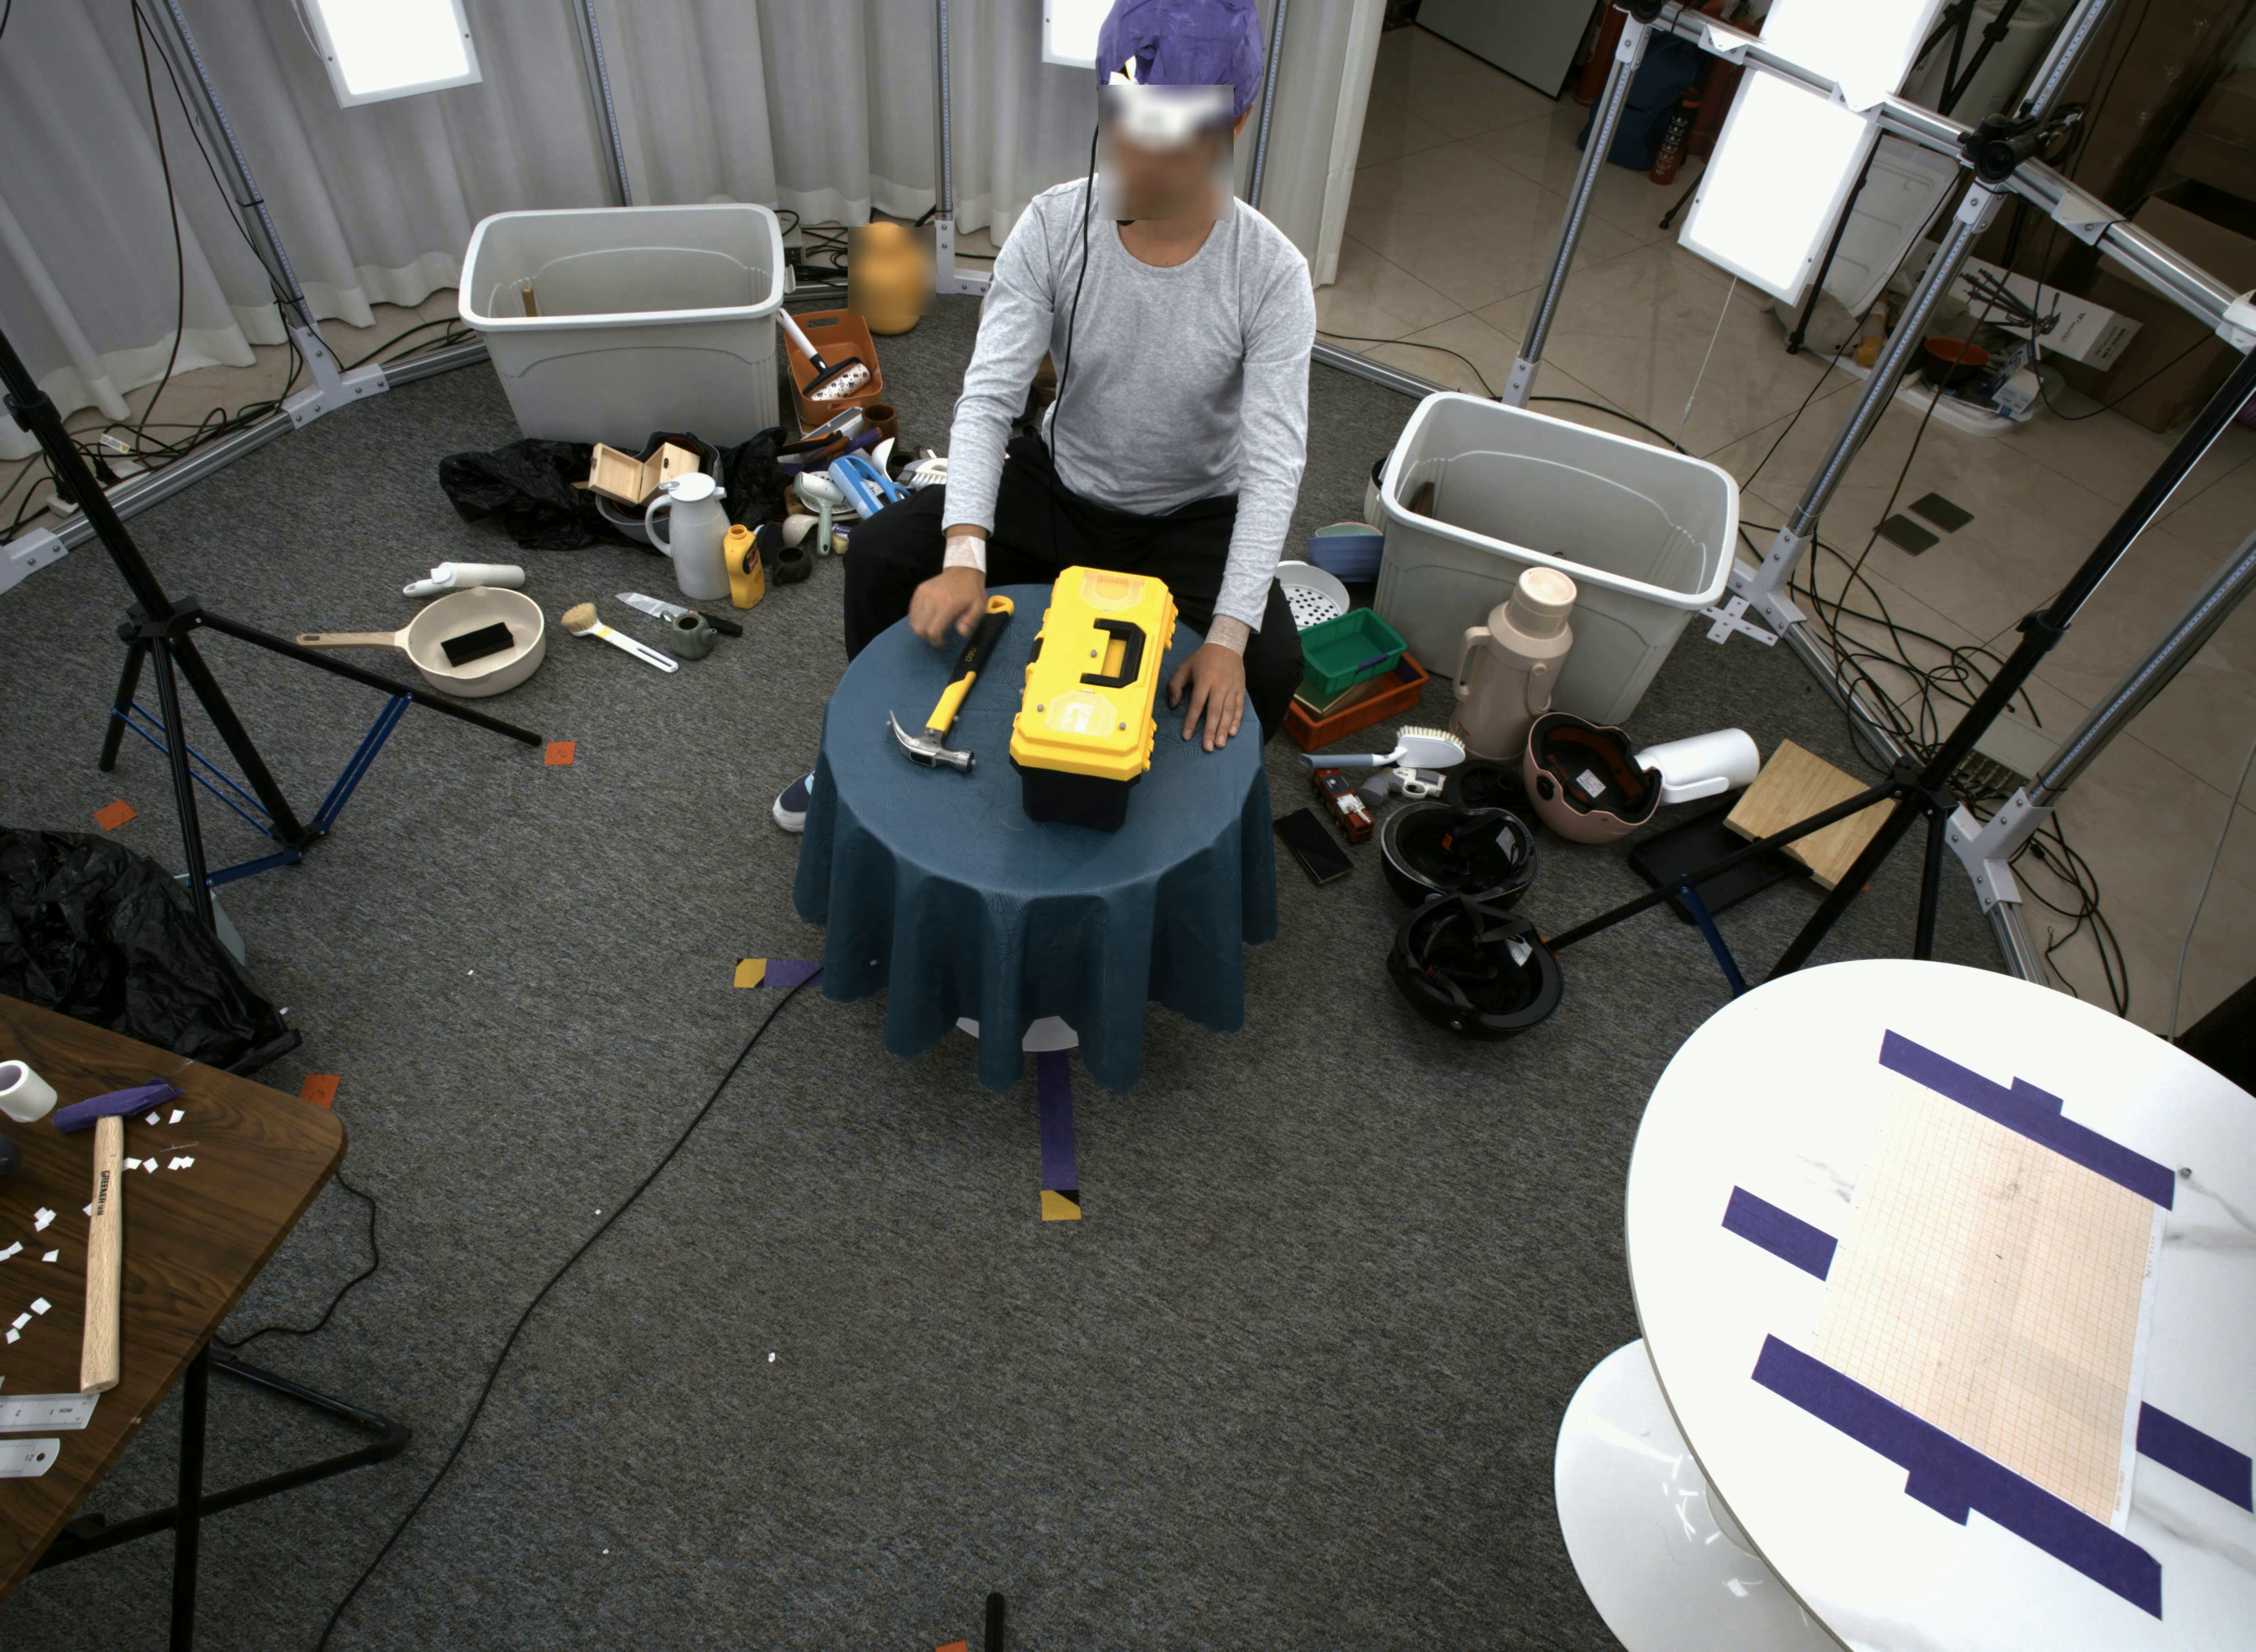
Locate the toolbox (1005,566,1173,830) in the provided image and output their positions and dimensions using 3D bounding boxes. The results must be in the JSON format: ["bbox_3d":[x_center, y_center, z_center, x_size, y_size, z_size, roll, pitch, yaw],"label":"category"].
[{"bbox_3d":[-0.046,-0.173,1.712,0.181,0.168,0.360,9,49,3],"label":"toolbox"}]

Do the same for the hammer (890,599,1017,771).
[{"bbox_3d":[-0.230,-0.213,1.828,0.132,0.031,0.346,13,48,9],"label":"hammer"}]
